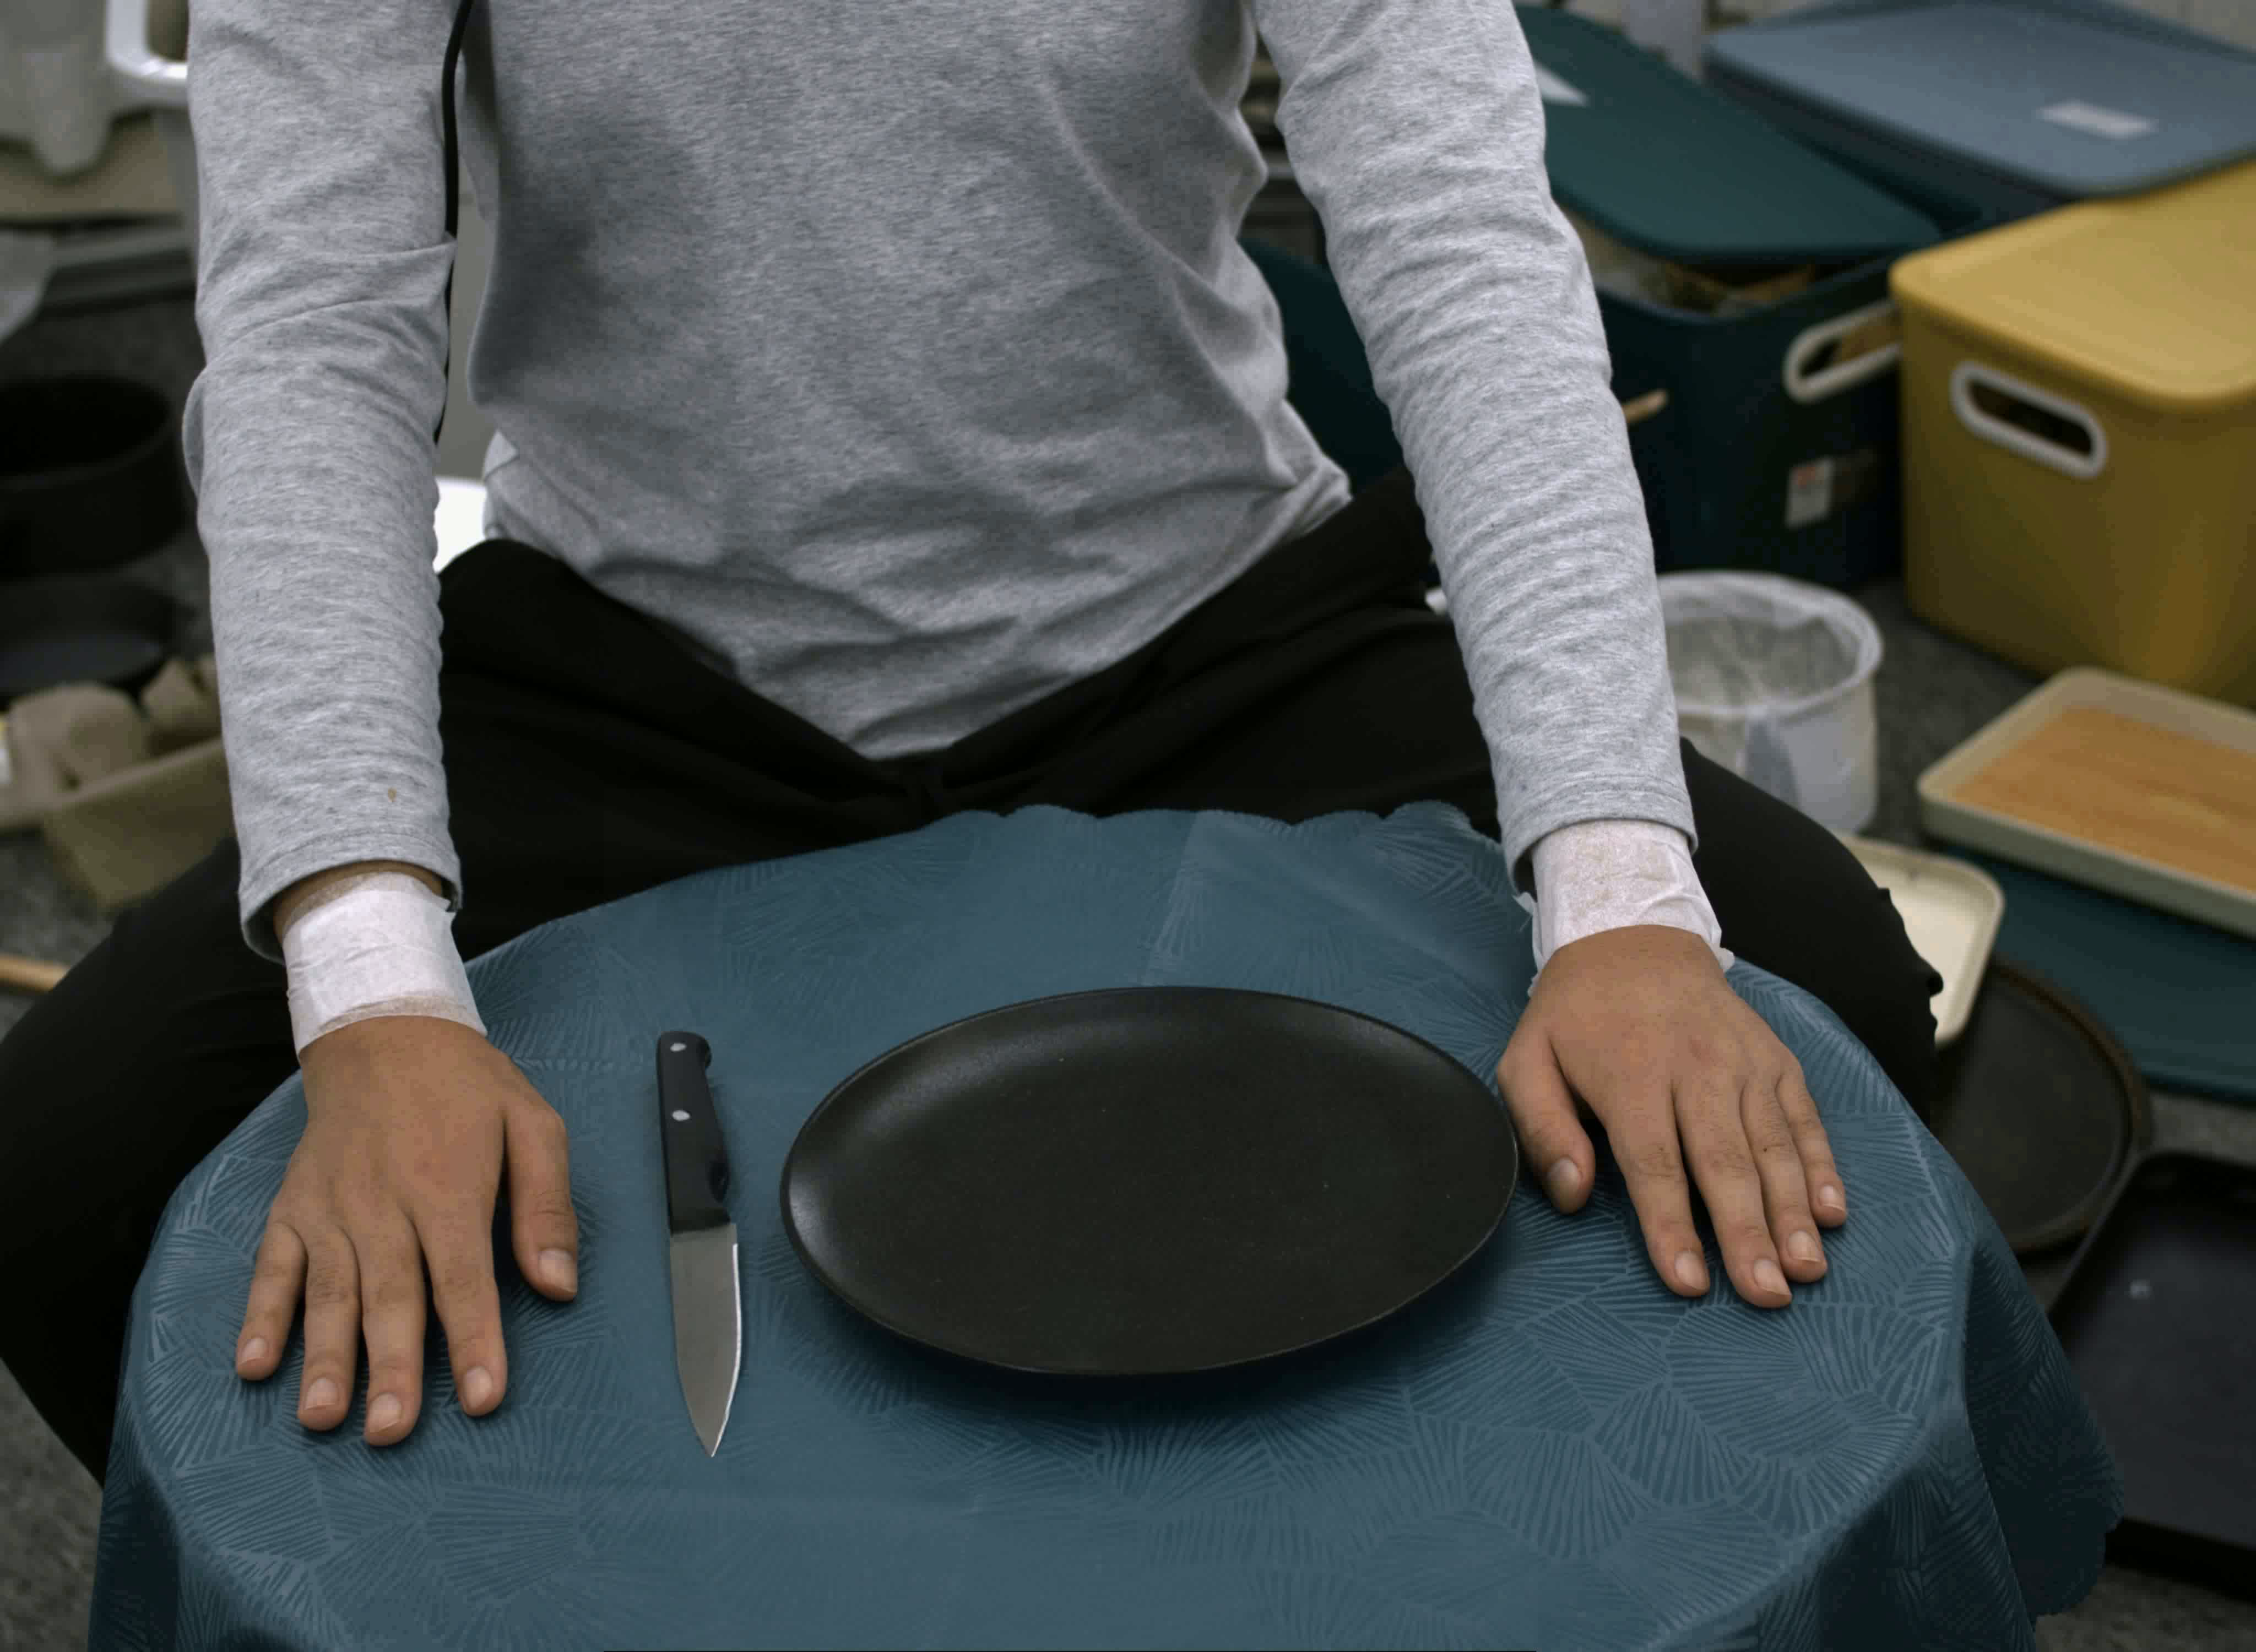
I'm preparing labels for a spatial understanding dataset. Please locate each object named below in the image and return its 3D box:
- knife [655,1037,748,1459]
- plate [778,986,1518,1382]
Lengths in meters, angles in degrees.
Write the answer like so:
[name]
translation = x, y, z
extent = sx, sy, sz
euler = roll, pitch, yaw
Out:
[knife]
translation = -0.141, 0.137, 1.834
extent = 0.024, 0.016, 0.241
euler = -6, 30, -5
[plate]
translation = 0.006, 0.121, 1.838
extent = 0.243, 0.023, 0.248
euler = -2, 27, 1
